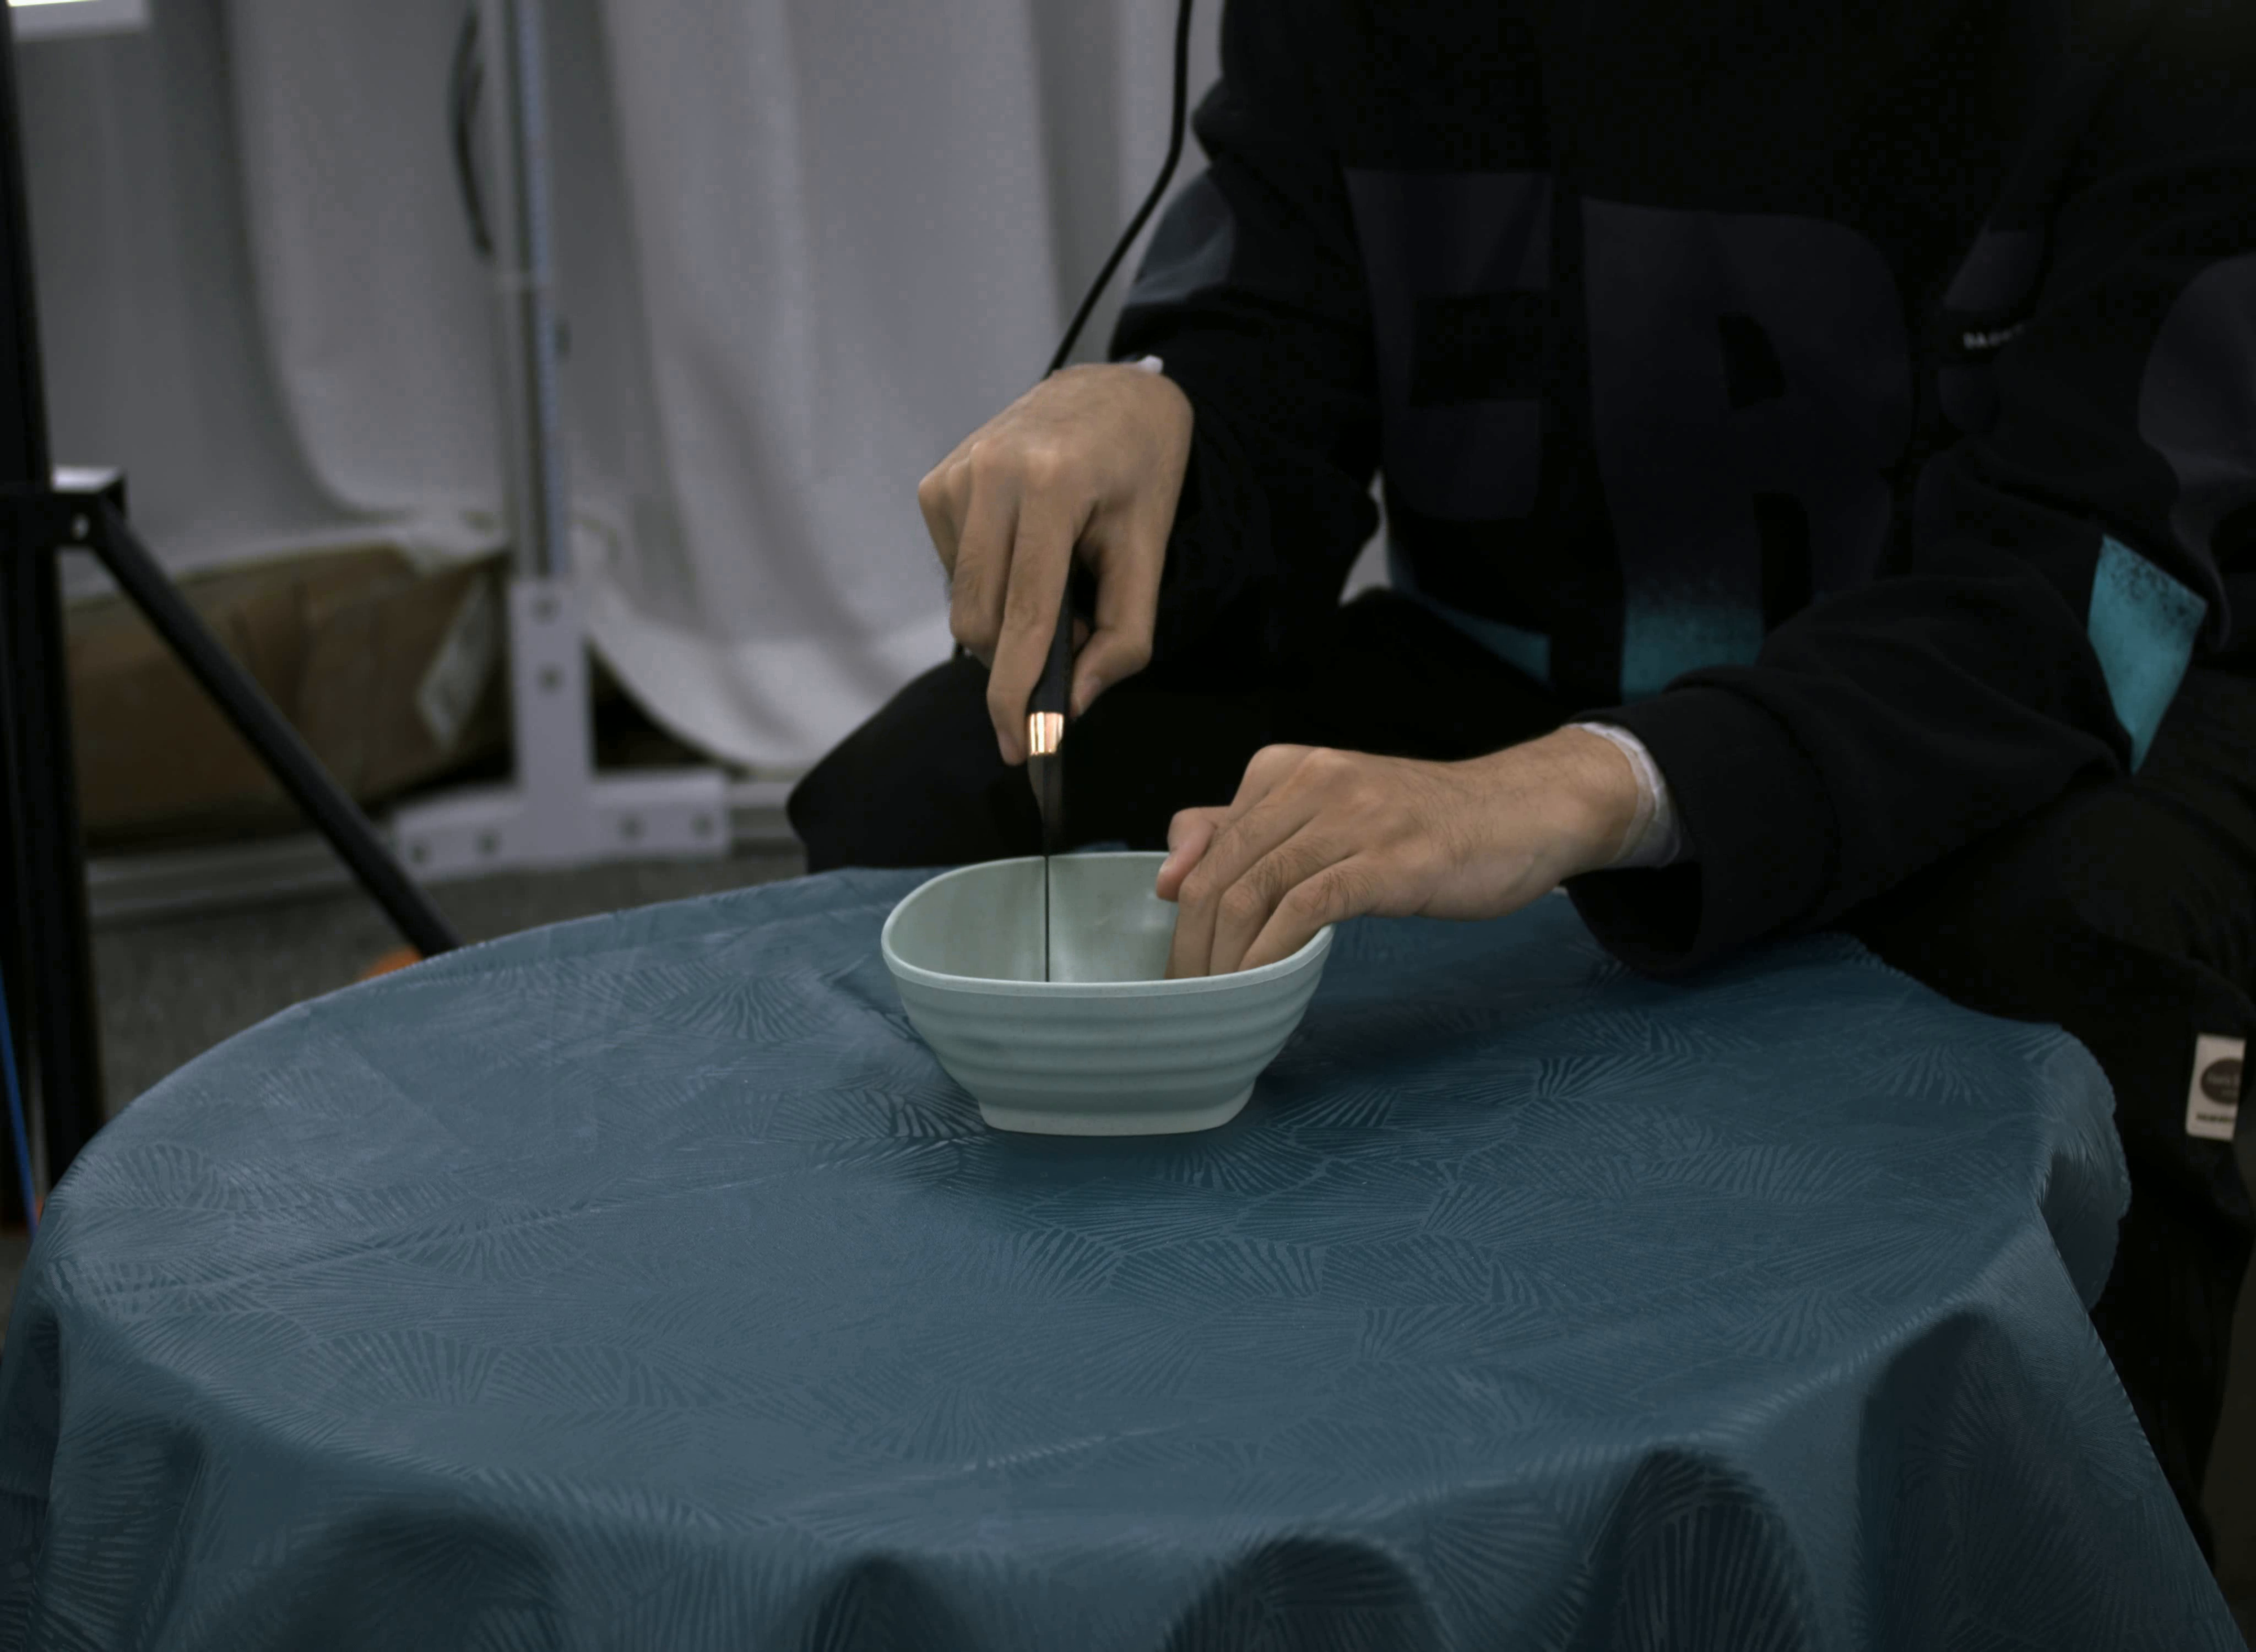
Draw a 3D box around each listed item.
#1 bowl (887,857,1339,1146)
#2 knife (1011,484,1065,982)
[{"bbox_3d":[-0.003,0.057,1.638,0.151,0.058,0.152,-4,16,0],"label":"bowl"},{"bbox_3d":[-0.027,-0.013,1.700,0.017,0.026,0.228,3,57,-9],"label":"knife"}]
